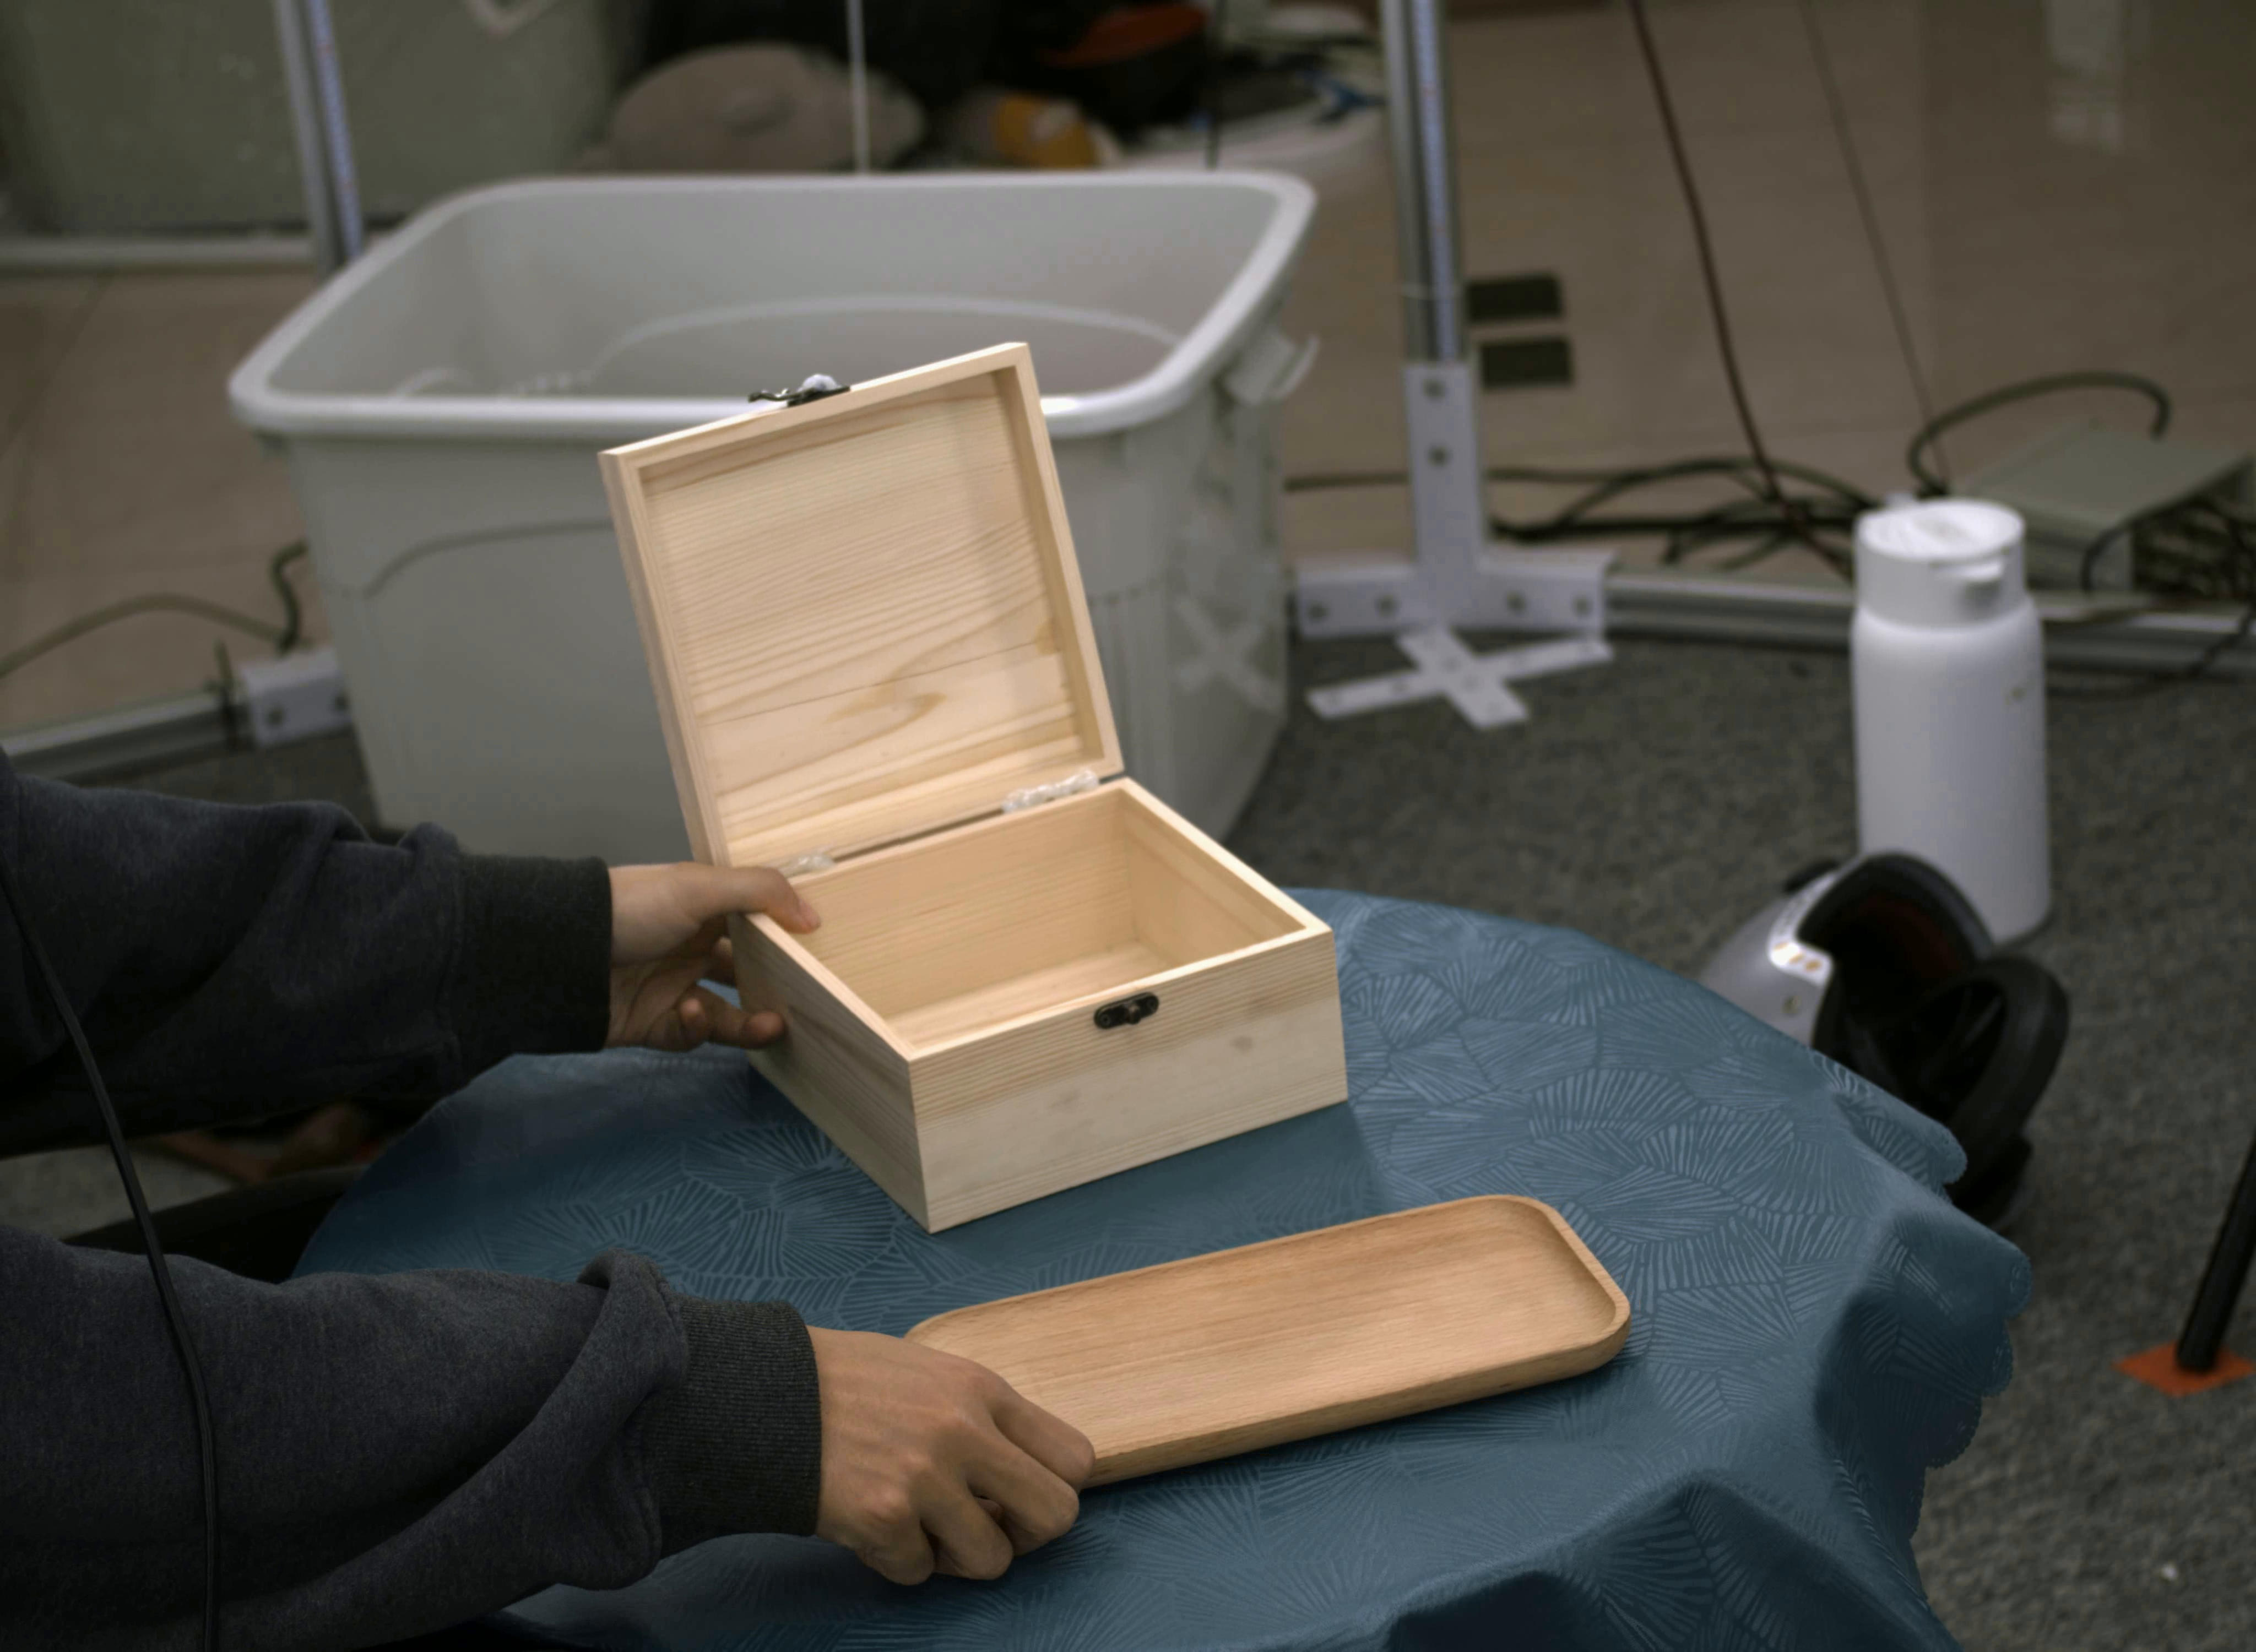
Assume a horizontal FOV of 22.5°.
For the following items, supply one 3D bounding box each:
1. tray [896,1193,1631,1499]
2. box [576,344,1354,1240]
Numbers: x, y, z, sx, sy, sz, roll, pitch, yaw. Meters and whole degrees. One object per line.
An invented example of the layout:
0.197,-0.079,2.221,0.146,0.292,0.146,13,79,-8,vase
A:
0.048,0.184,2.014,0.250,0.023,0.129,-12,22,-11,tray
-0.064,-0.021,2.212,0.181,0.257,0.262,-20,27,-20,box
